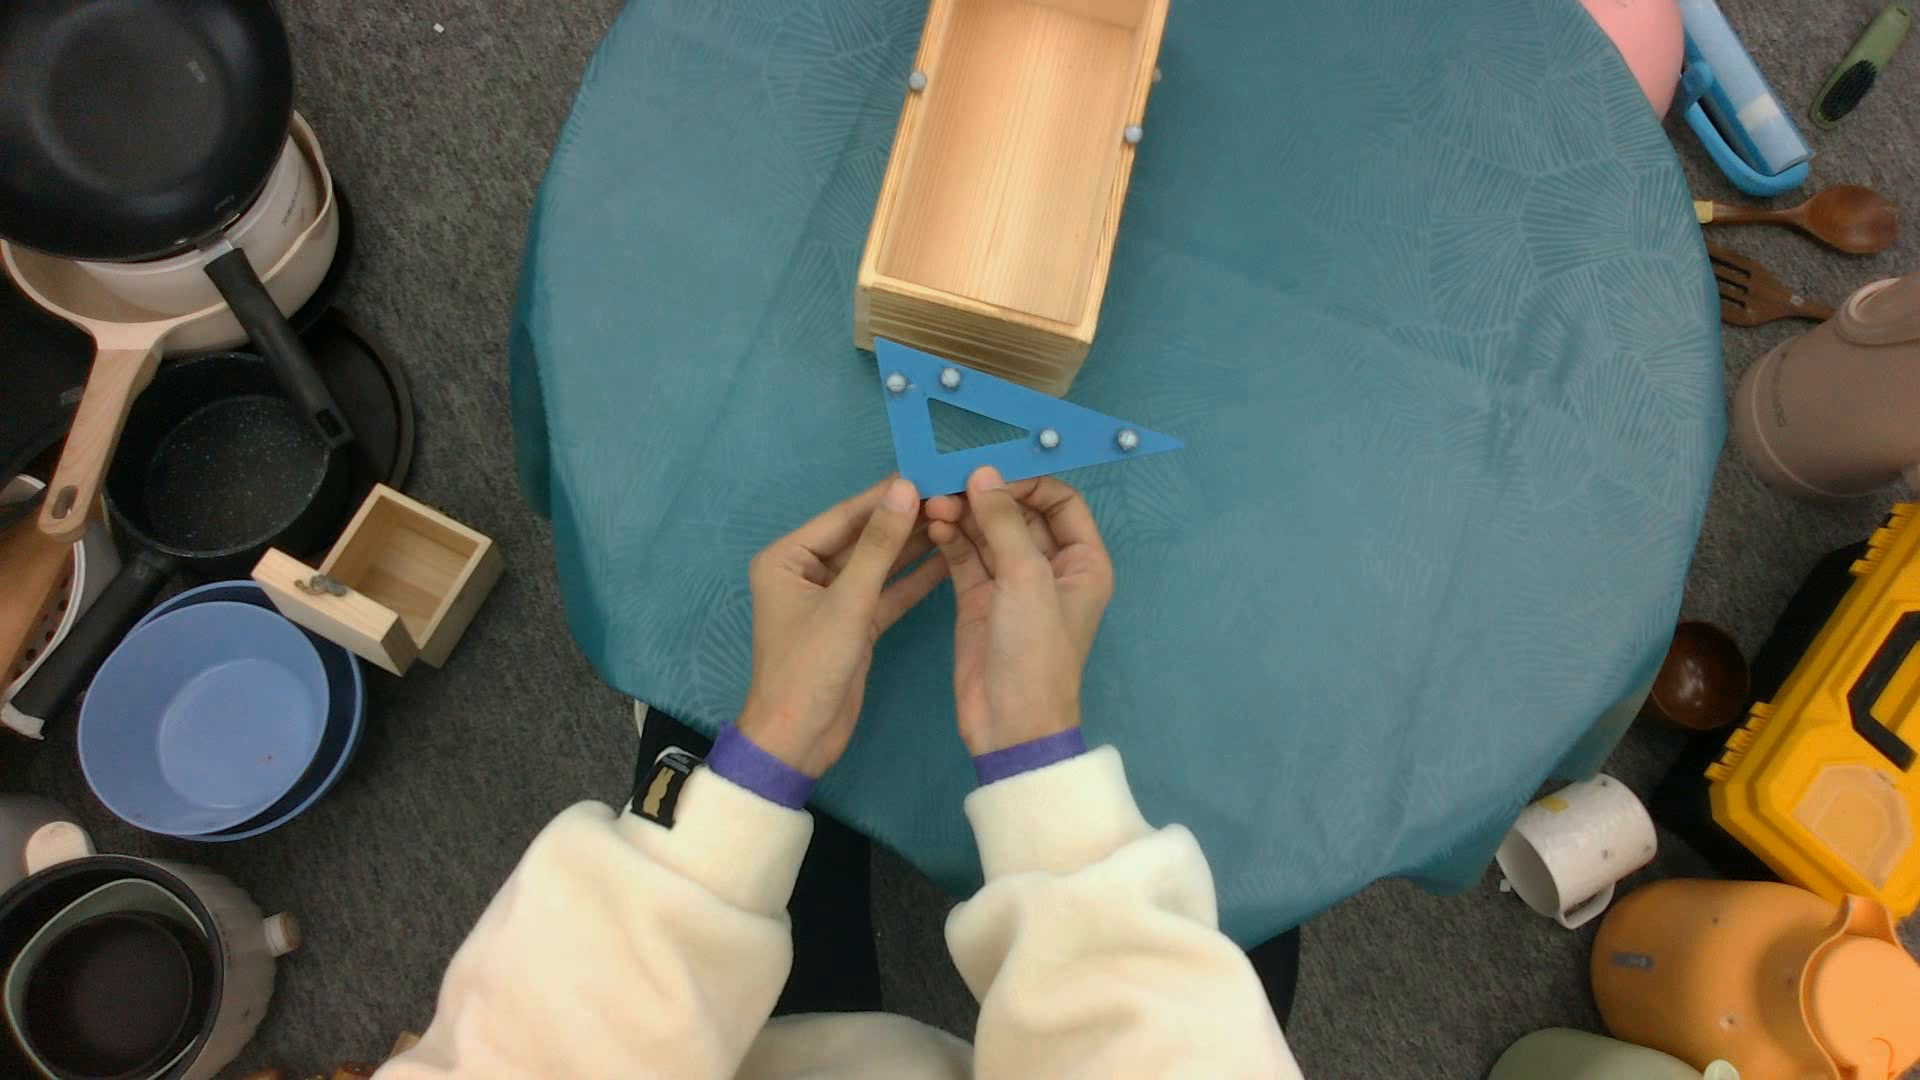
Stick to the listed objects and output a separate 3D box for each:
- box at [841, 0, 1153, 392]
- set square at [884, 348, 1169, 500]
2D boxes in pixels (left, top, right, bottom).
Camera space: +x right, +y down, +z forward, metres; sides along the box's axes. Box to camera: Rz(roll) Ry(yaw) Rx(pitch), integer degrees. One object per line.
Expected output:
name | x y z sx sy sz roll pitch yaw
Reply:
box | 0.020 -0.191 0.656 0.107 0.080 0.212 13 76 -2
set square | 0.020 -0.031 0.573 0.132 0.006 0.061 22 82 -3
